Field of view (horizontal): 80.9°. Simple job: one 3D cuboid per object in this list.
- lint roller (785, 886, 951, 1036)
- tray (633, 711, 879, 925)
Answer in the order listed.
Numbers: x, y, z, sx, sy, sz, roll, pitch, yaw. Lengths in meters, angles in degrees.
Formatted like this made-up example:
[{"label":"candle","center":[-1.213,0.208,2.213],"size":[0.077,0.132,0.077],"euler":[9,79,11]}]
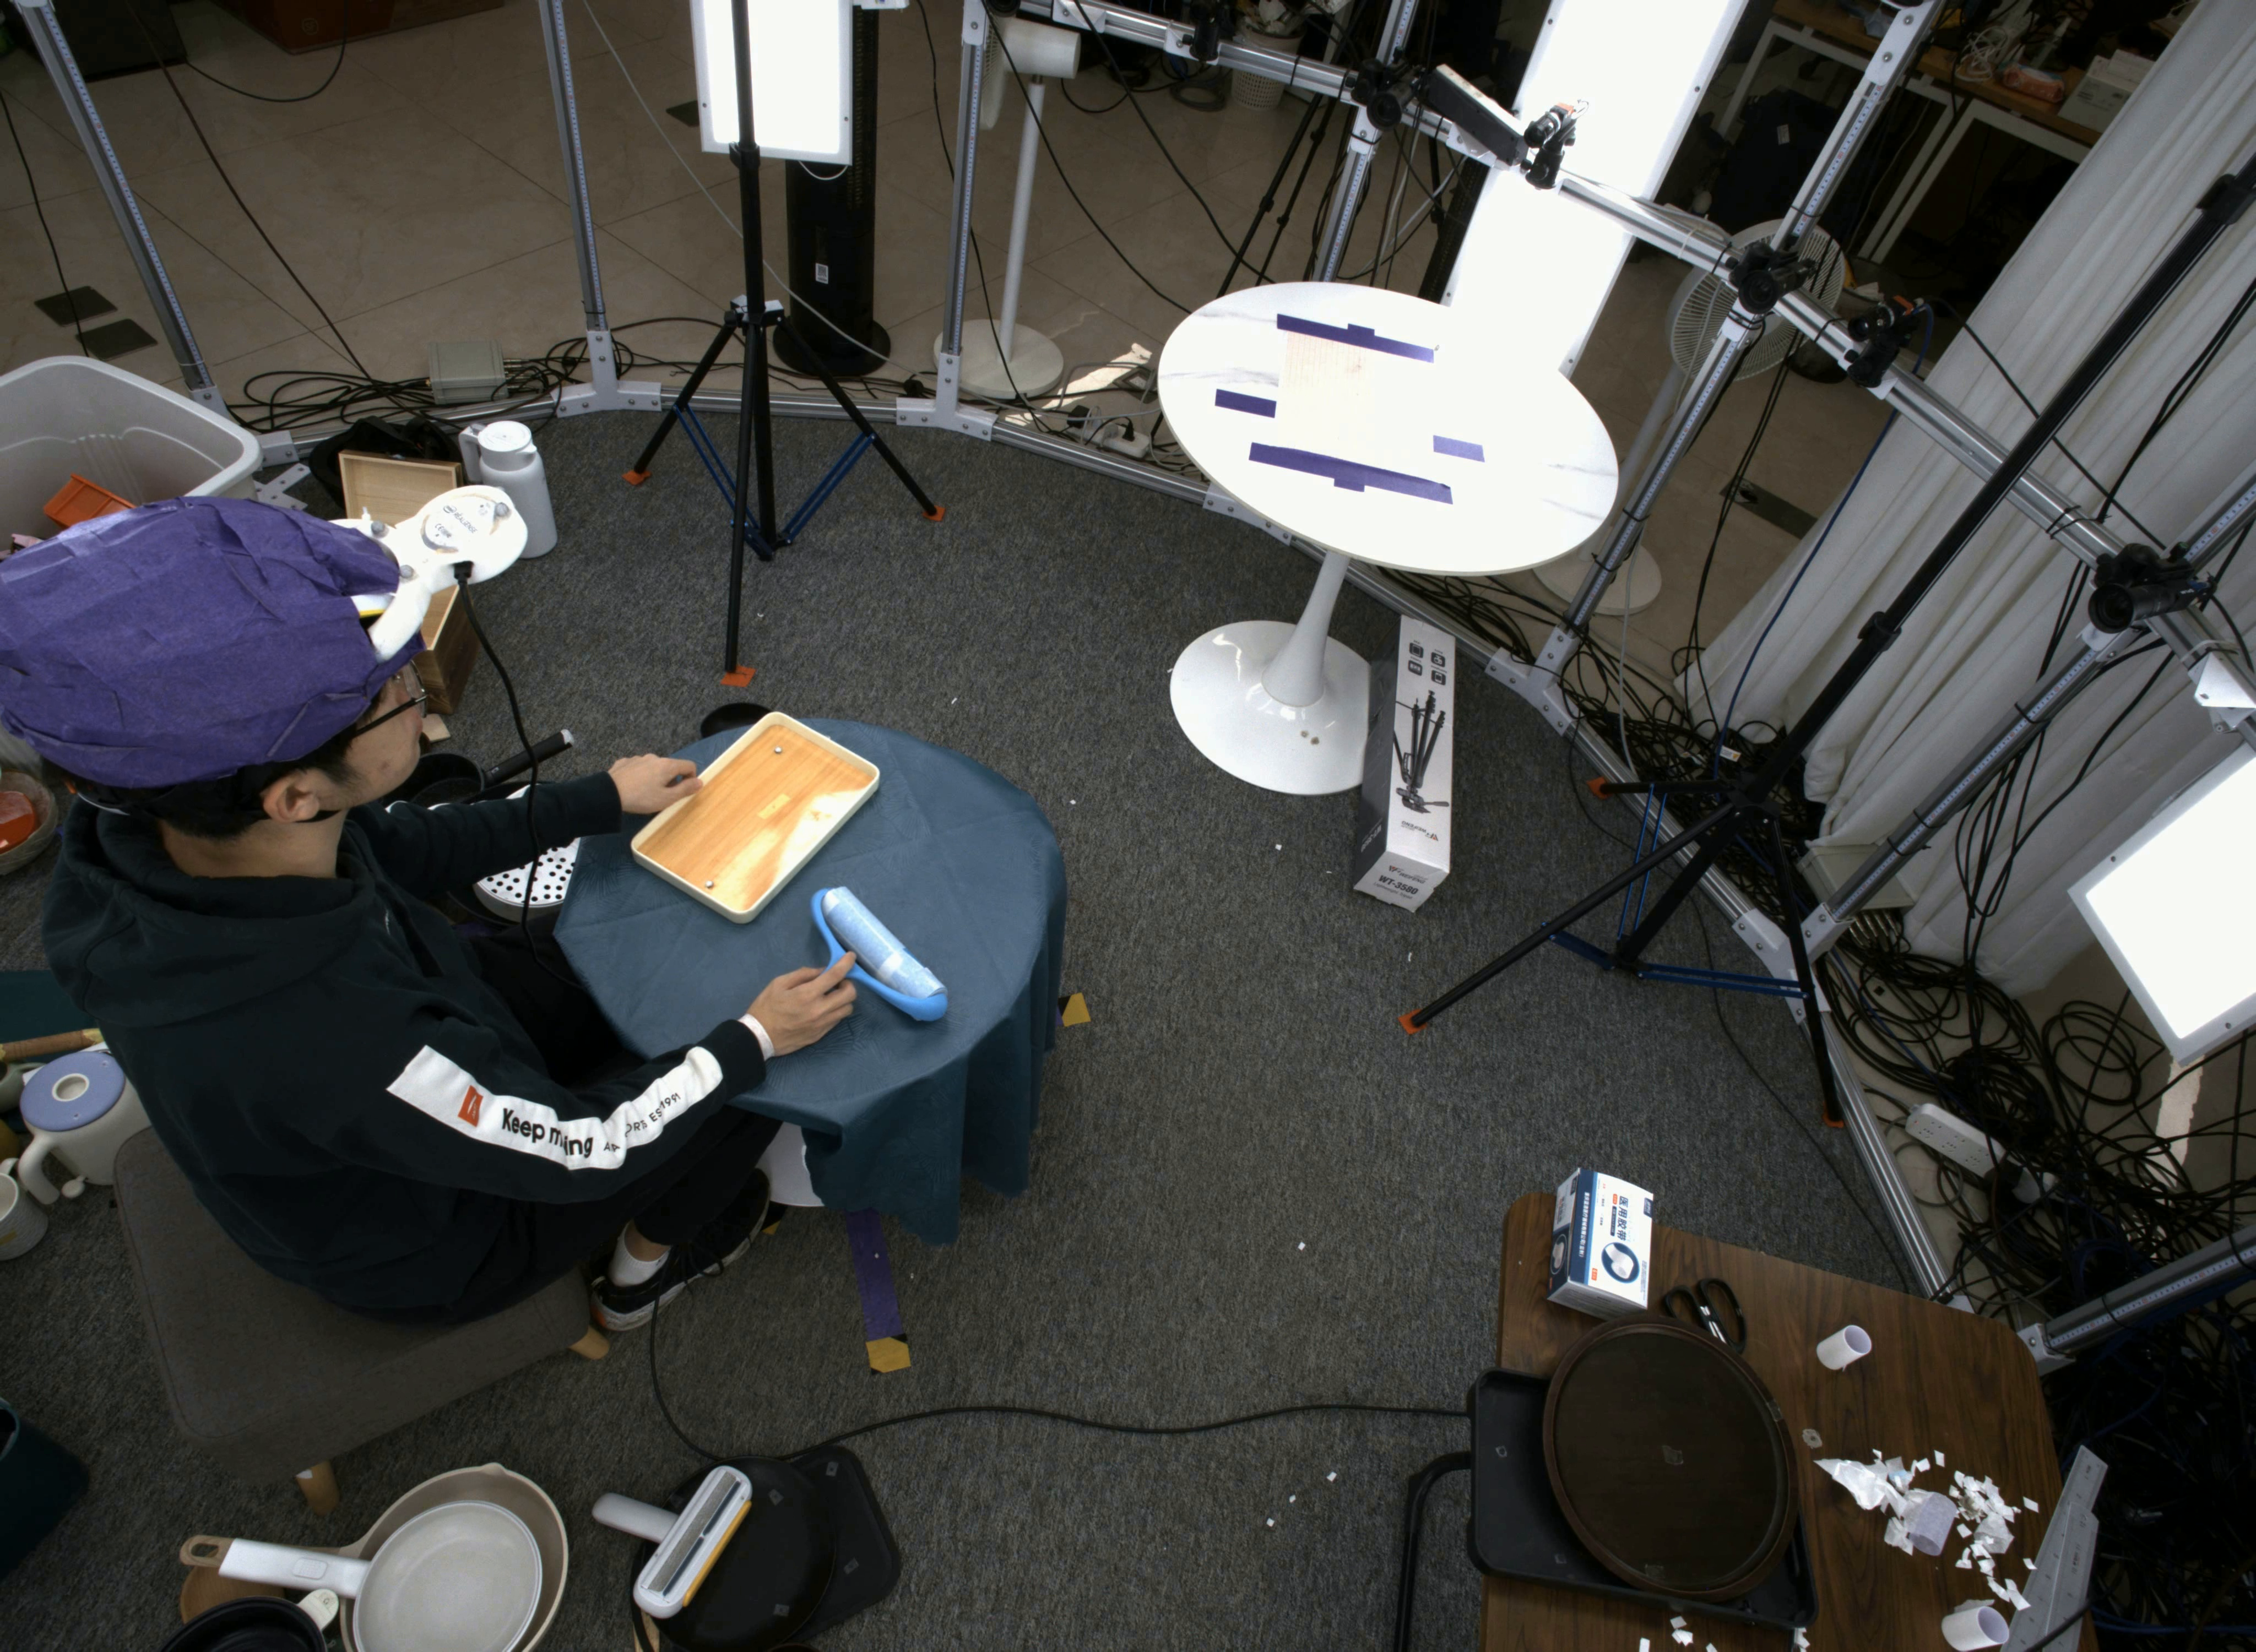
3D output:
[{"label":"lint roller","center":[-0.343,0.183,1.581],"size":[0.225,0.069,0.180],"euler":[40,54,13]},{"label":"tray","center":[-0.487,-0.019,1.710],"size":[0.188,0.028,0.299],"euler":[30,53,8]}]
